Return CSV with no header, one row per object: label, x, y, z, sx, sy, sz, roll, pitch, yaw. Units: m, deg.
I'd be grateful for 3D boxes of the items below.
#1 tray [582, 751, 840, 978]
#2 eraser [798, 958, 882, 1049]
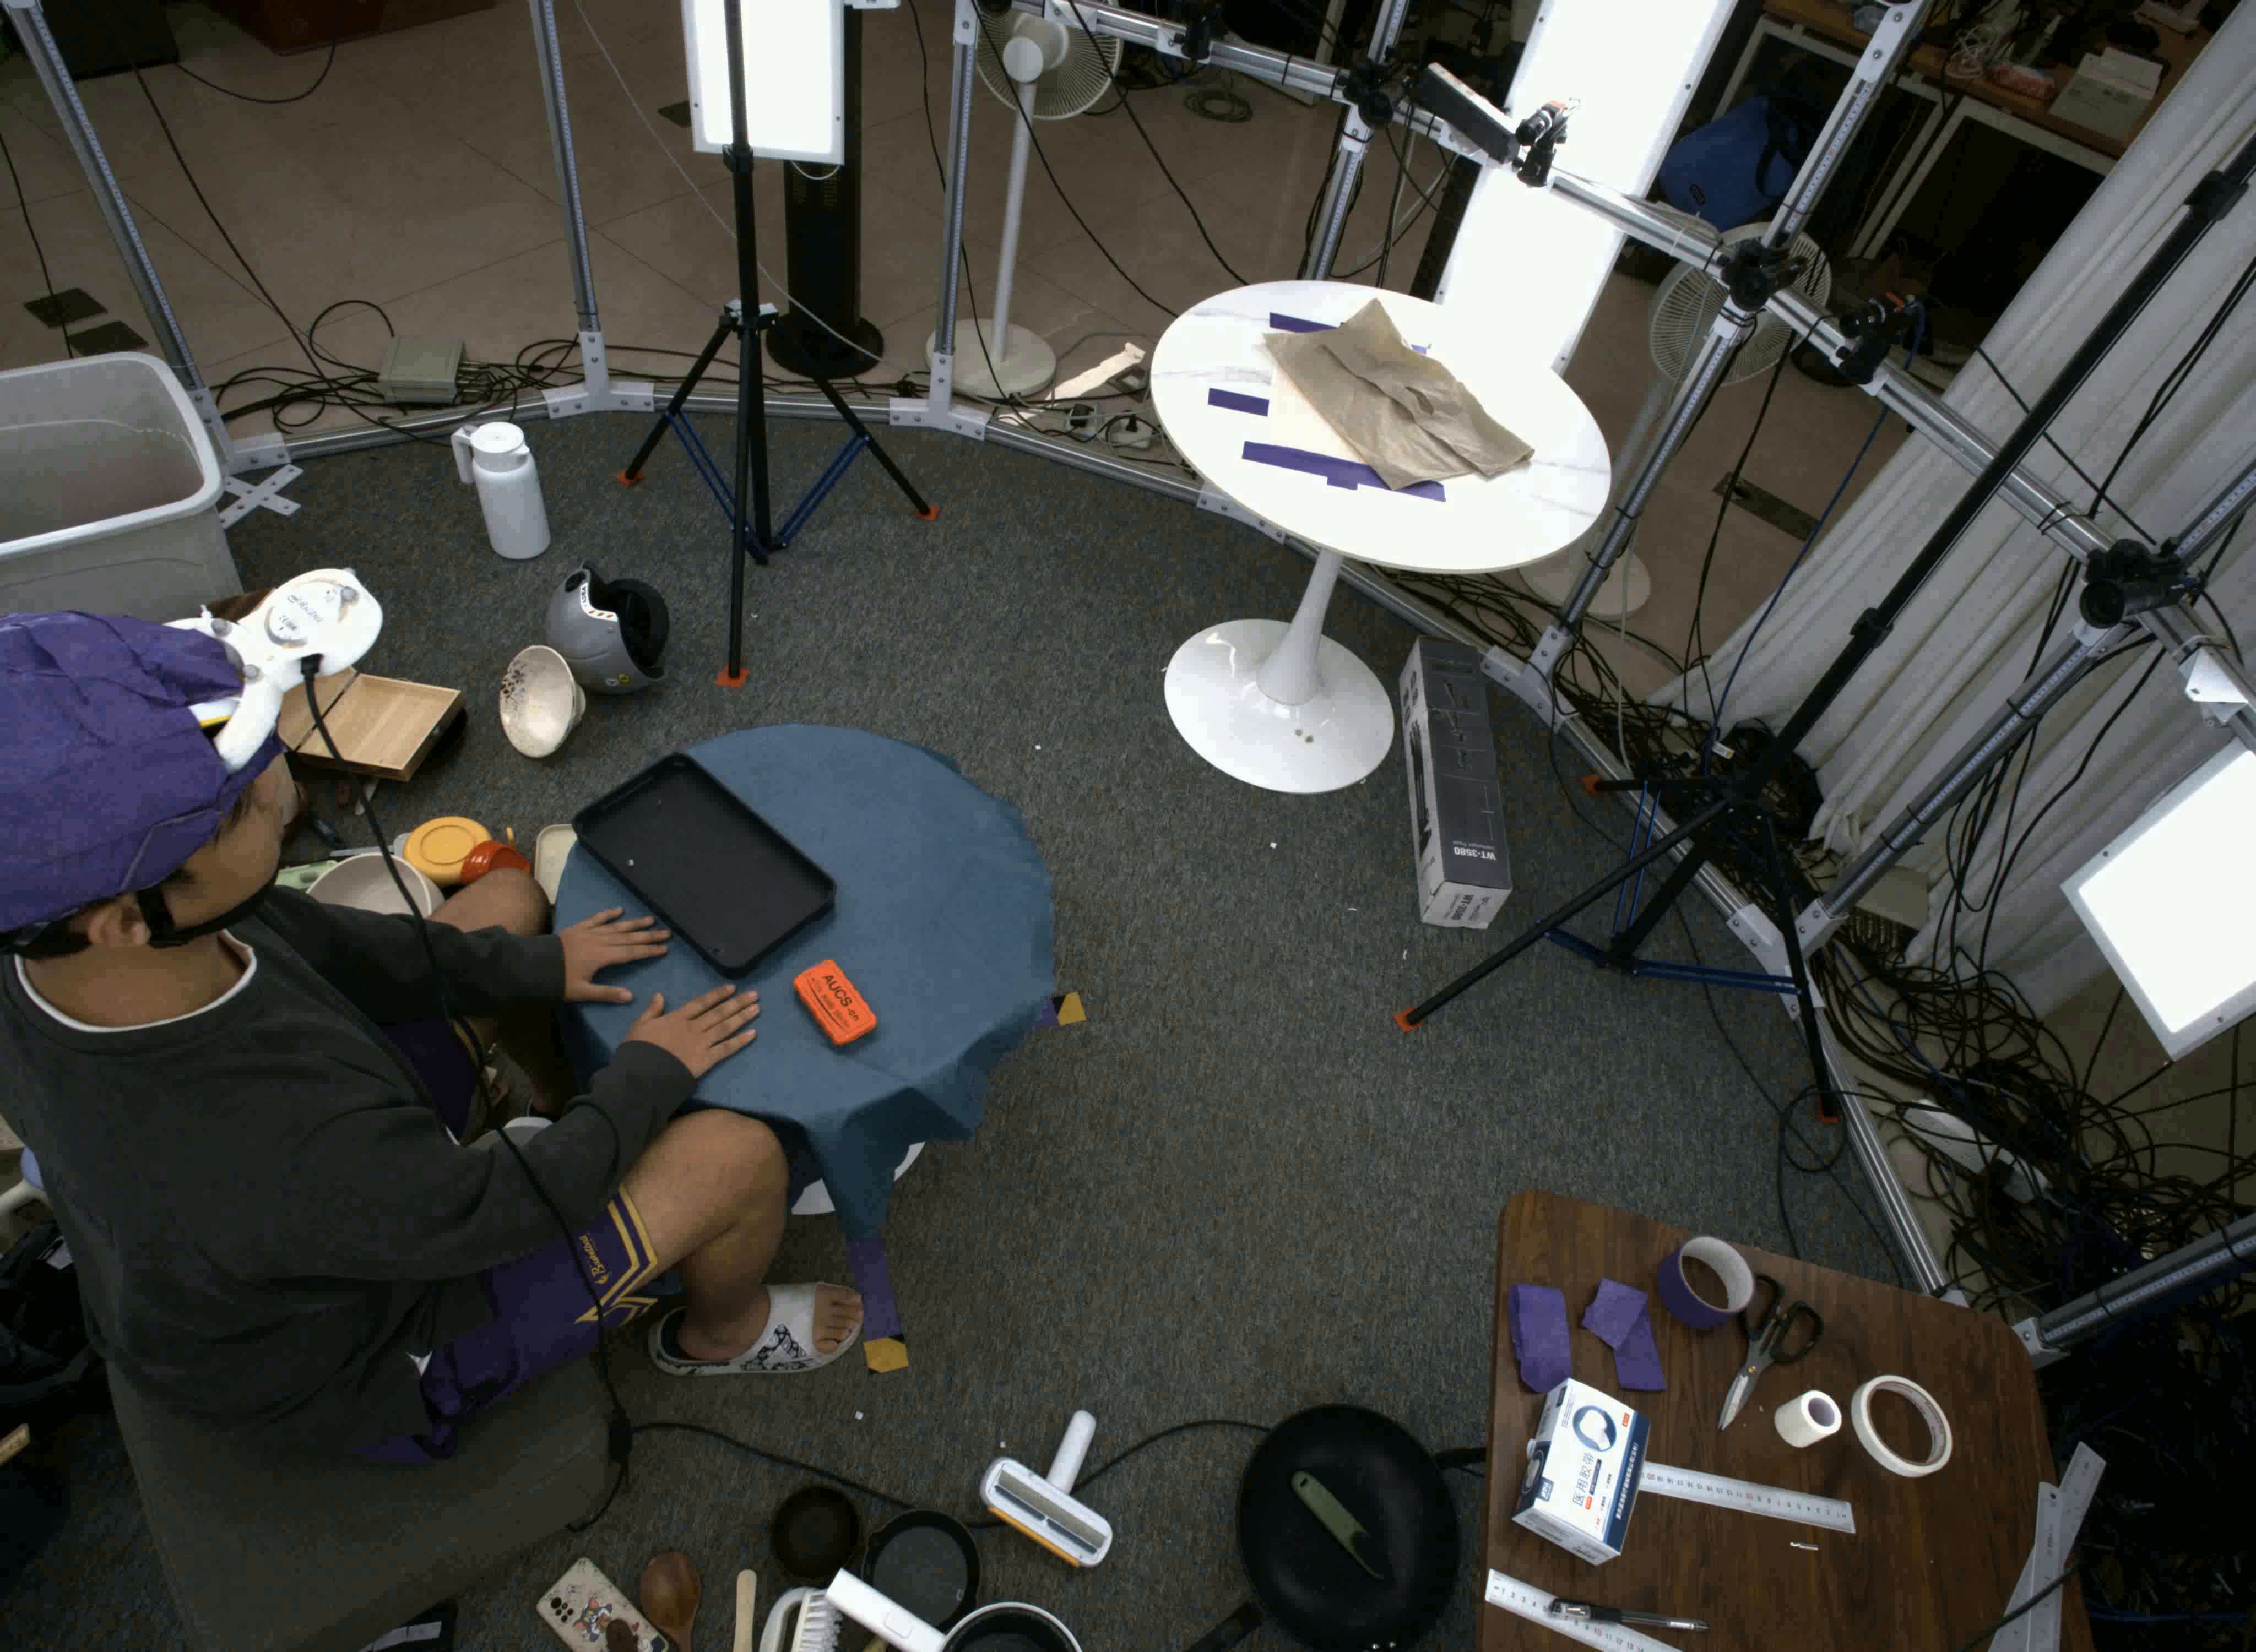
tray,-0.536,0.042,1.647,0.312,0.038,0.184,37,54,13
eraser,-0.348,0.211,1.571,0.059,0.023,0.105,-33,68,-26
